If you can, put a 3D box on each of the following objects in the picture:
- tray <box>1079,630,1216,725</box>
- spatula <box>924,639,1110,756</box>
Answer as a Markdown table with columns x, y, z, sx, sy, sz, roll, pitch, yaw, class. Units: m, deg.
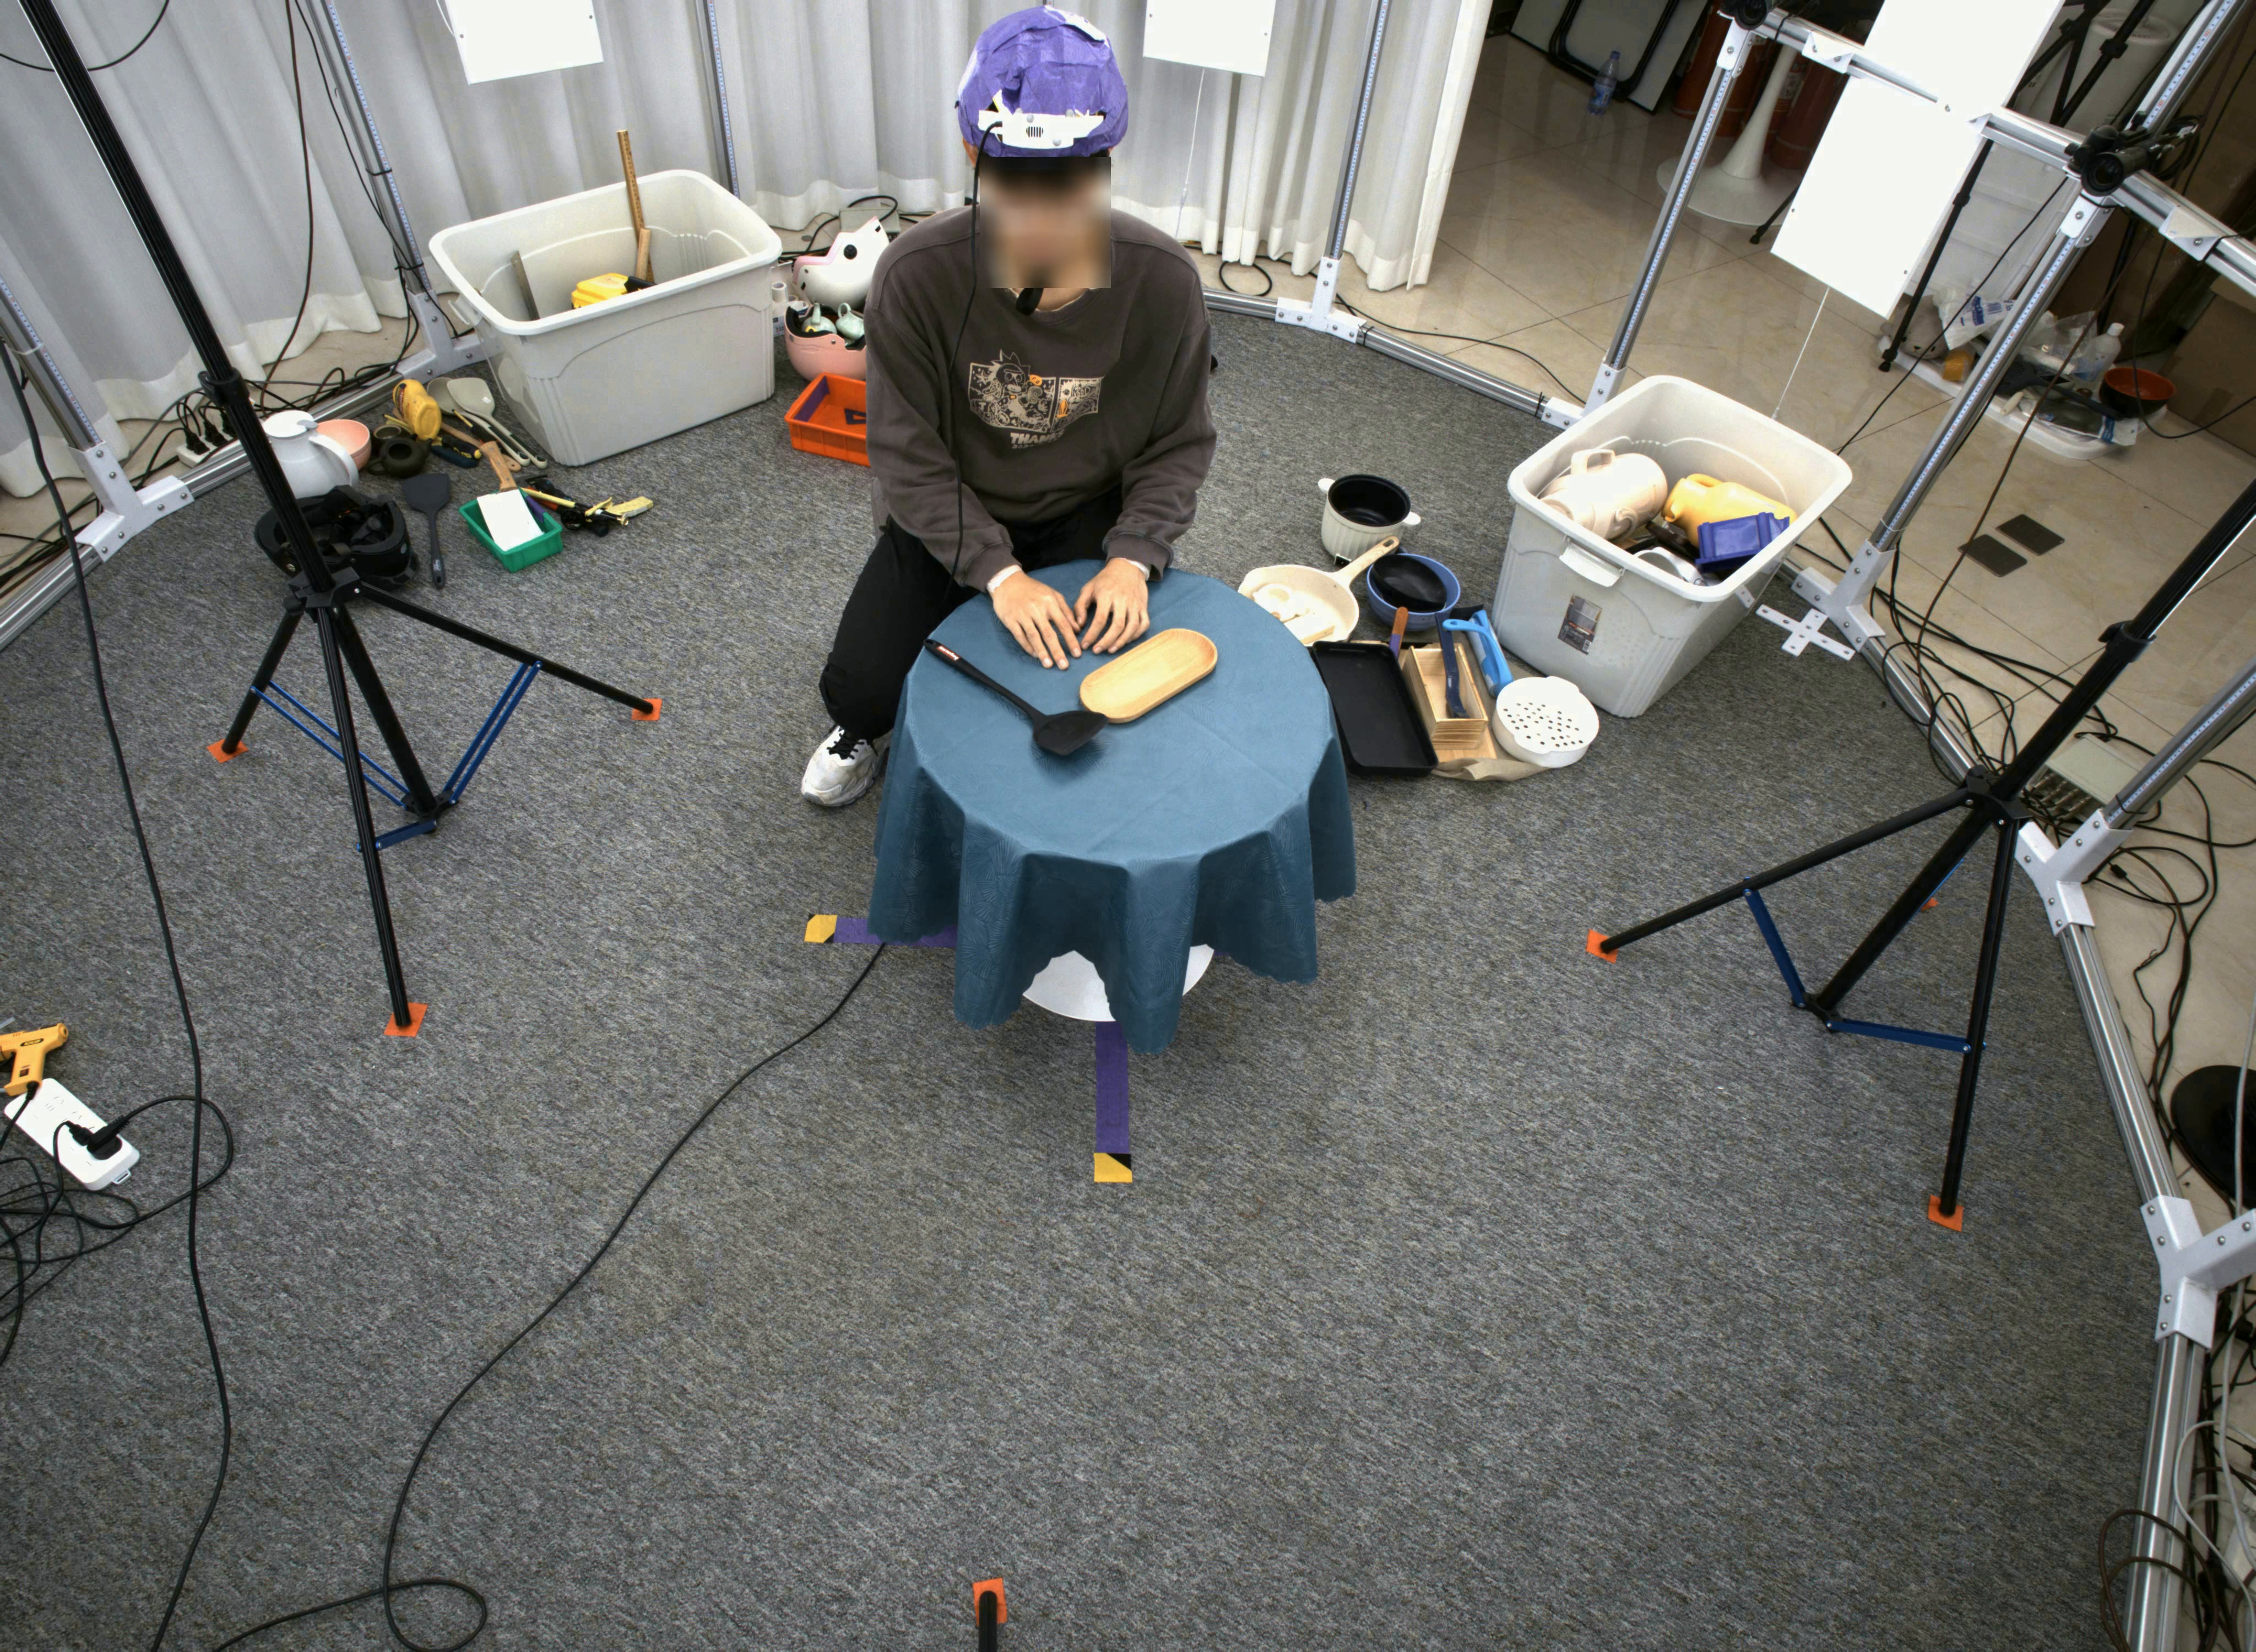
| x | y | z | sx | sy | sz | roll | pitch | yaw | class |
| --- | --- | --- | --- | --- | --- | --- | --- | --- | --- |
| 0.030 | -0.215 | 1.844 | 0.233 | 0.020 | 0.103 | -34 | 58 | -27 | tray |
| -0.172 | -0.191 | 1.798 | 0.330 | 0.039 | 0.101 | 36 | 55 | 25 | spatula |
